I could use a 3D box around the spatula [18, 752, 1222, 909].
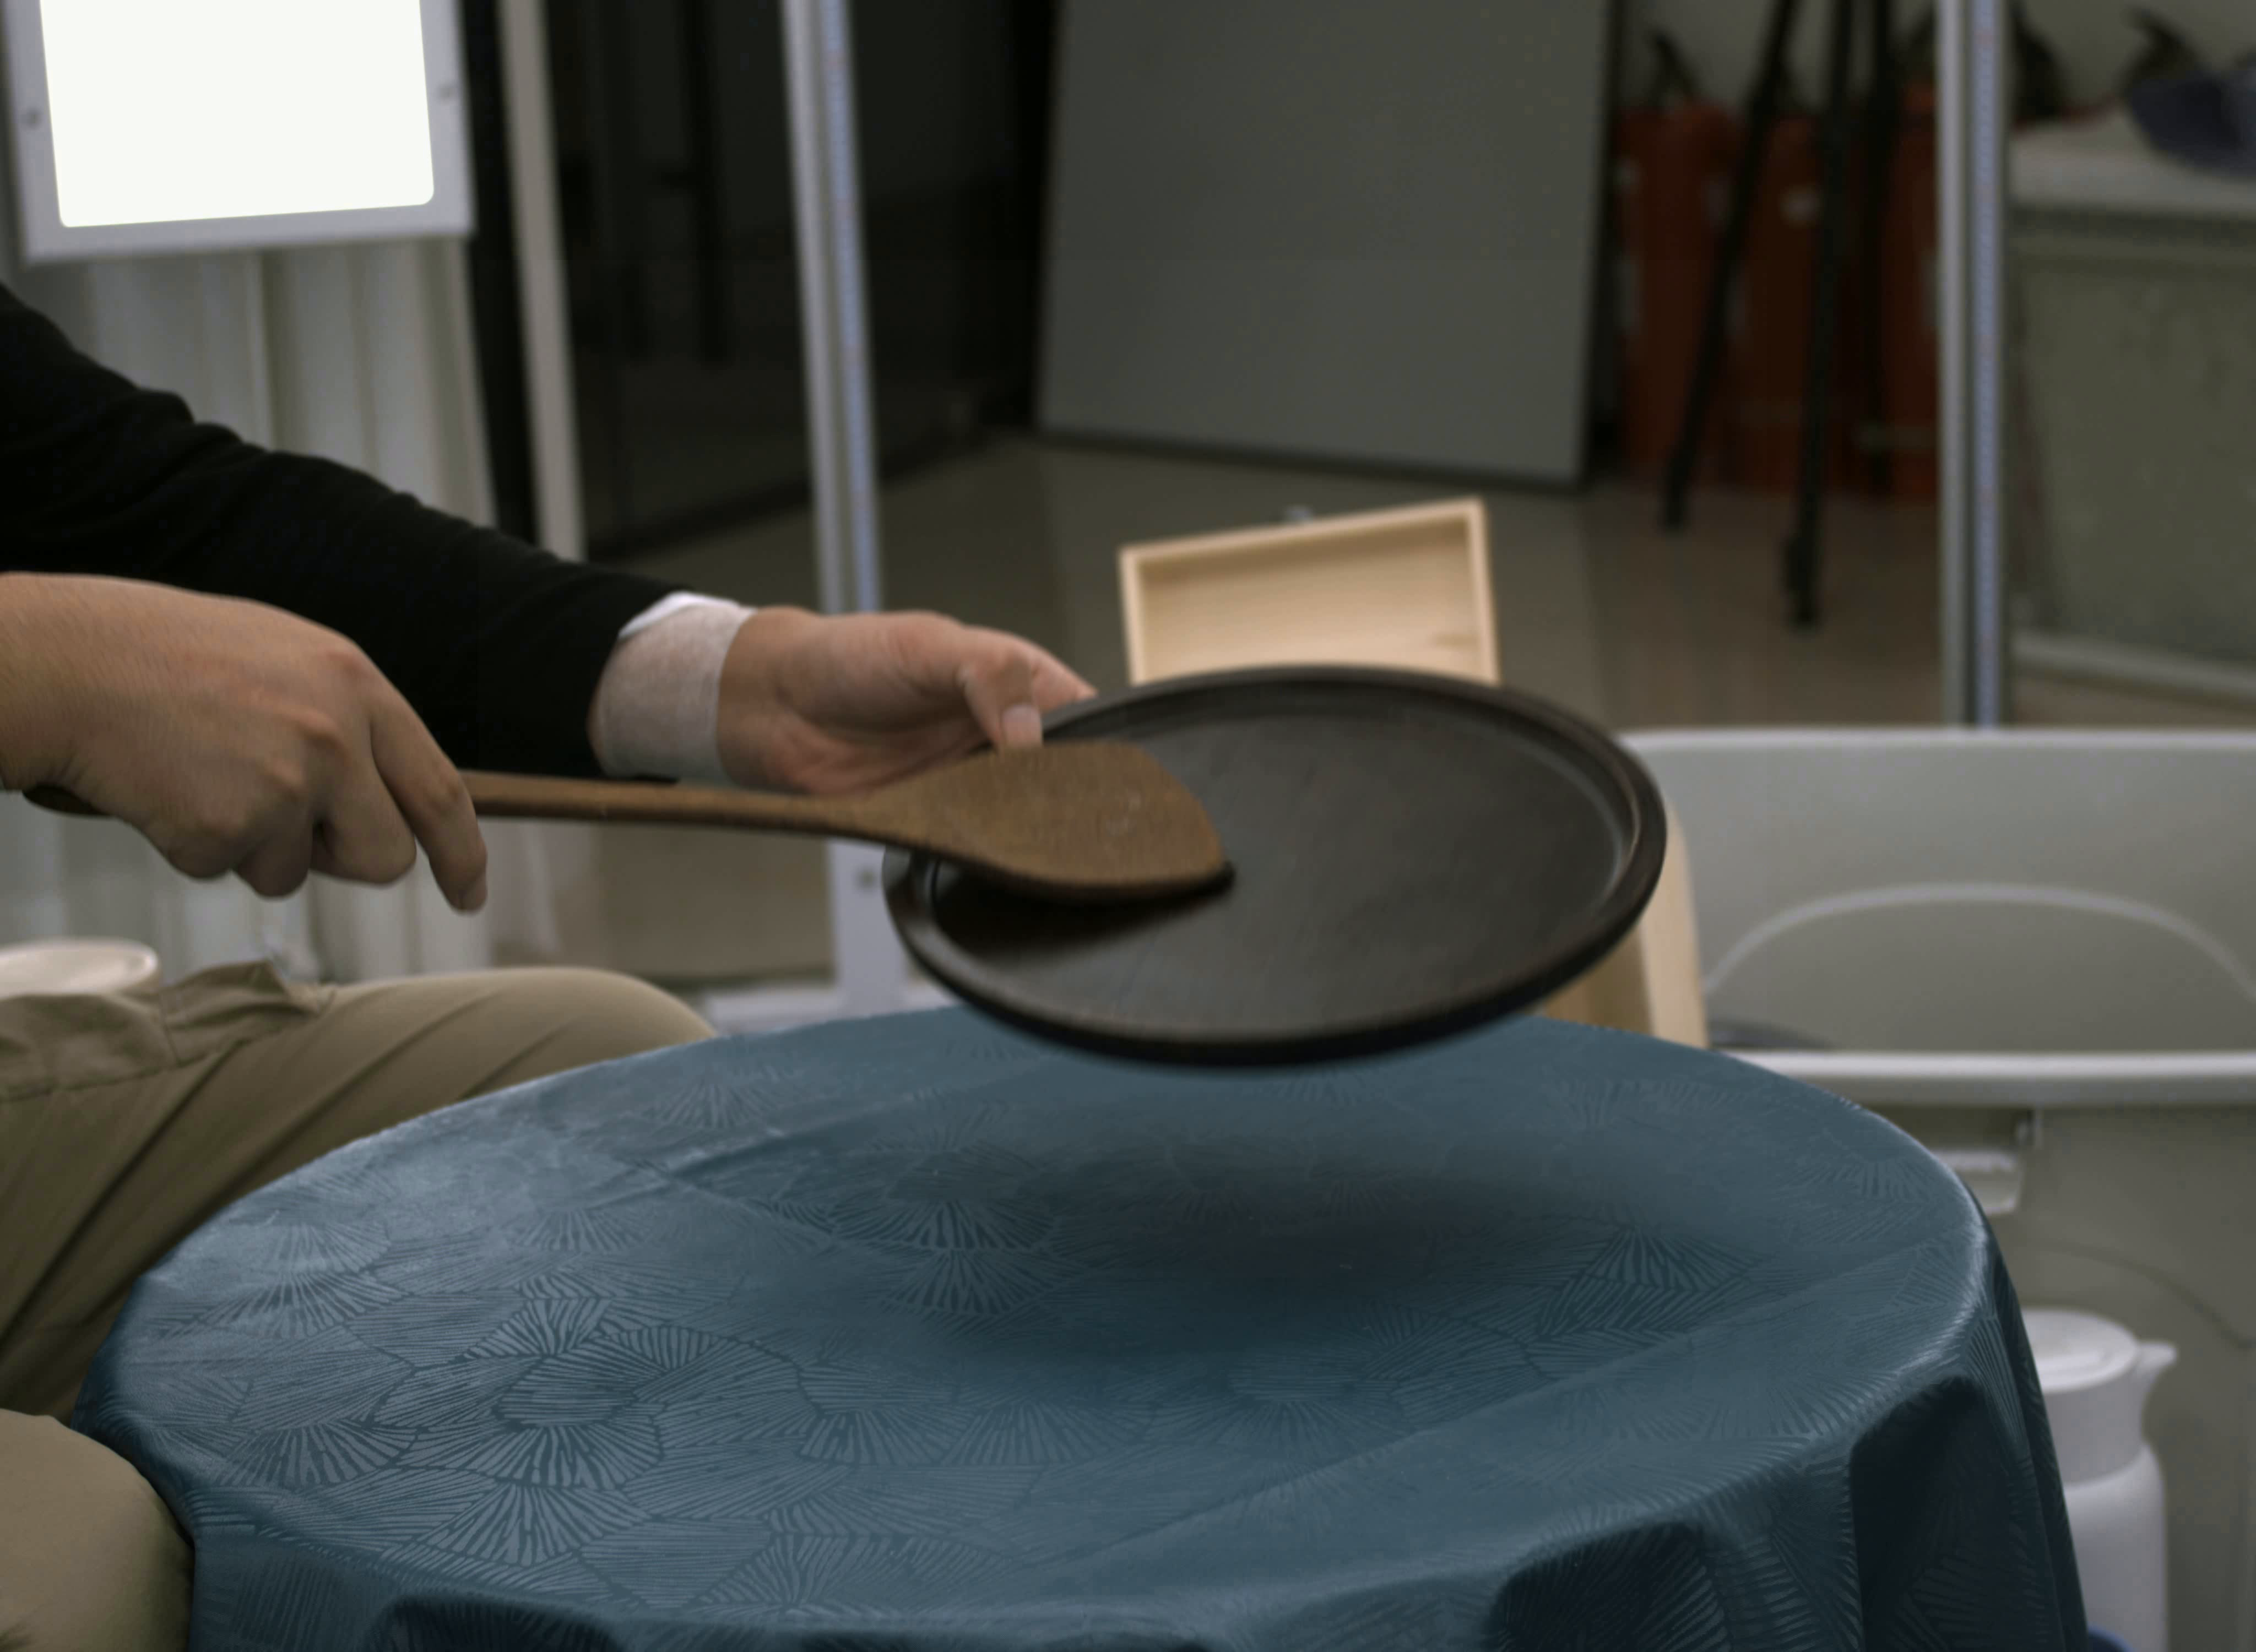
[{"bbox_3d":[-0.151,-0.004,1.674,0.377,0.016,0.097,3,27,-22],"label":"spatula"}]

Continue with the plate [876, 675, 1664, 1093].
[{"bbox_3d":[0.045,0.016,1.713,0.252,0.029,0.256,-5,29,2],"label":"plate"}]
